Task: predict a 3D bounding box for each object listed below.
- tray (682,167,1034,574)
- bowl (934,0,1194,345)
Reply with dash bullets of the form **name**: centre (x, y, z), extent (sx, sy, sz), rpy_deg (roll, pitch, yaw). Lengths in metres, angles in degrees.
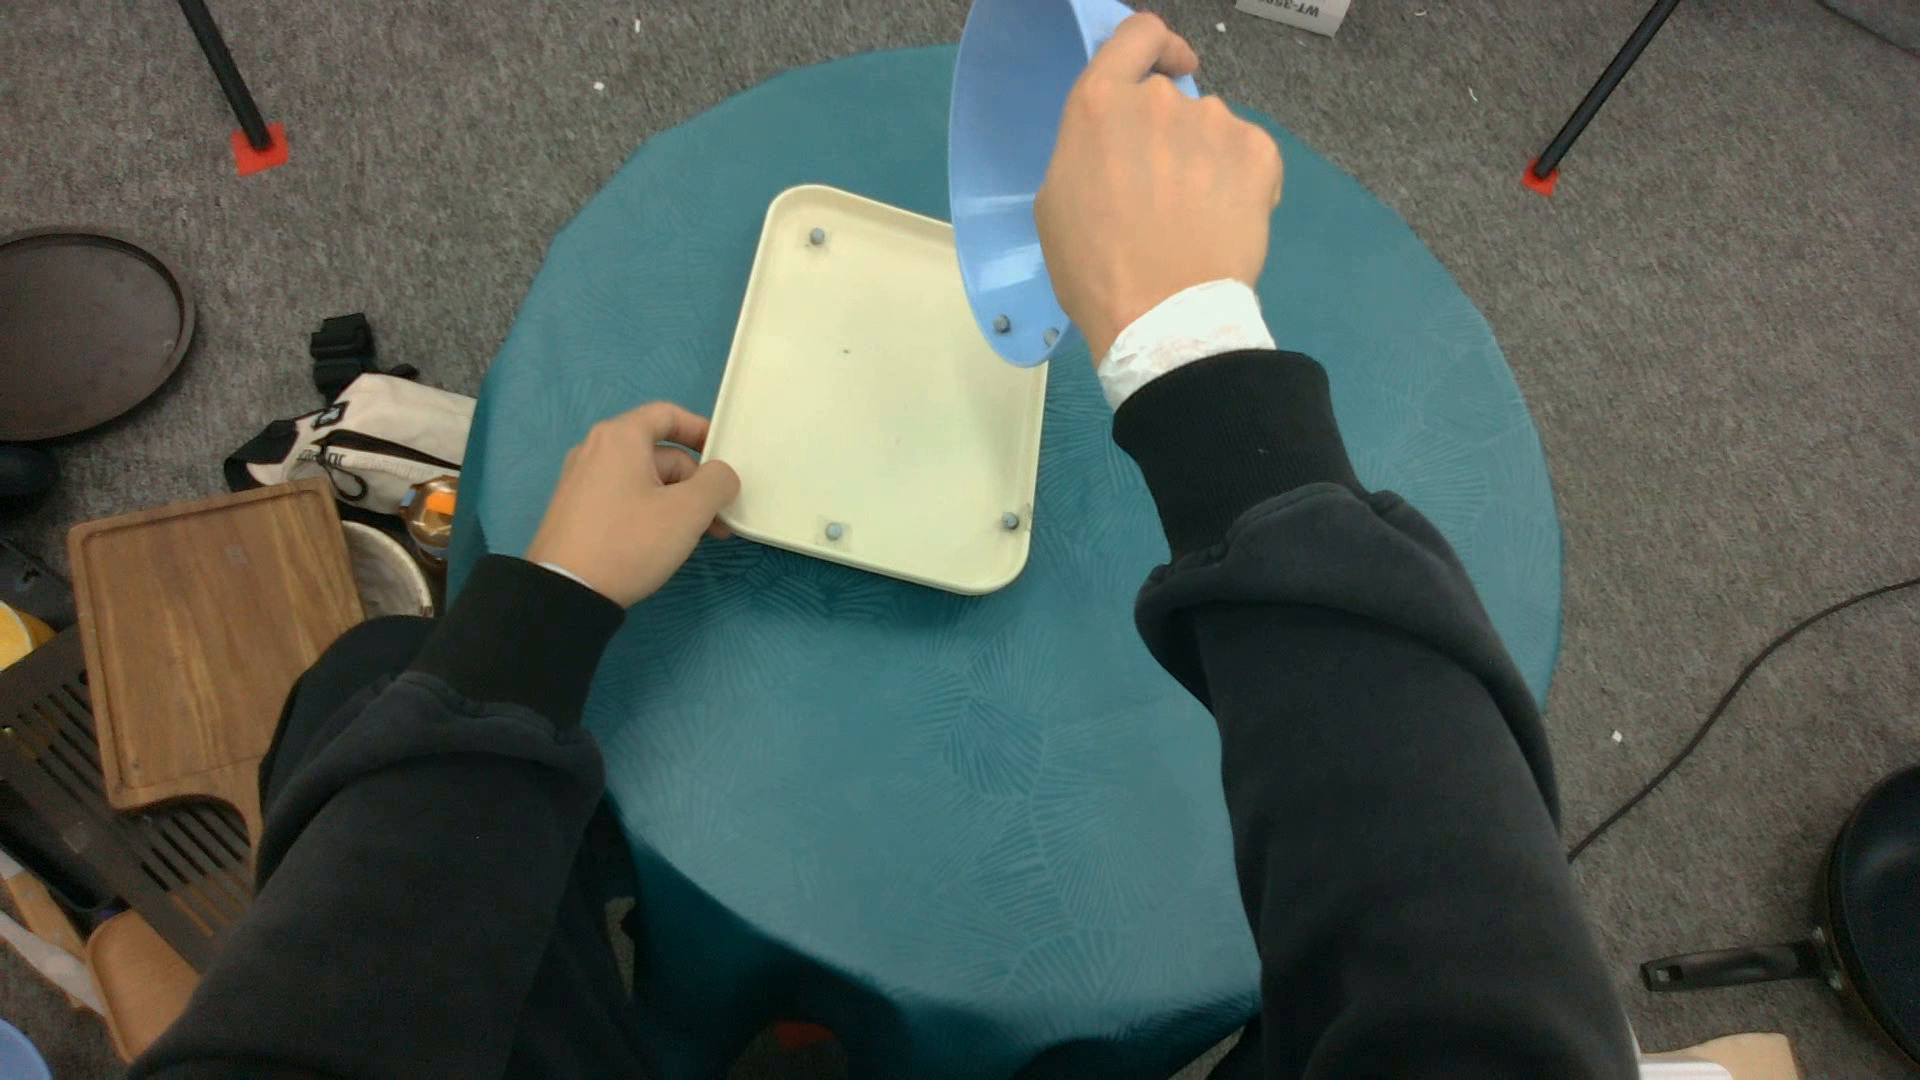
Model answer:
- **tray**: centre (-0.046, -0.095, 0.735), extent (0.171, 0.017, 0.241), rpy_deg (14, 57, -10)
- **bowl**: centre (0.049, -0.178, 0.622), extent (0.070, 0.175, 0.176), rpy_deg (-6, 66, -20)
